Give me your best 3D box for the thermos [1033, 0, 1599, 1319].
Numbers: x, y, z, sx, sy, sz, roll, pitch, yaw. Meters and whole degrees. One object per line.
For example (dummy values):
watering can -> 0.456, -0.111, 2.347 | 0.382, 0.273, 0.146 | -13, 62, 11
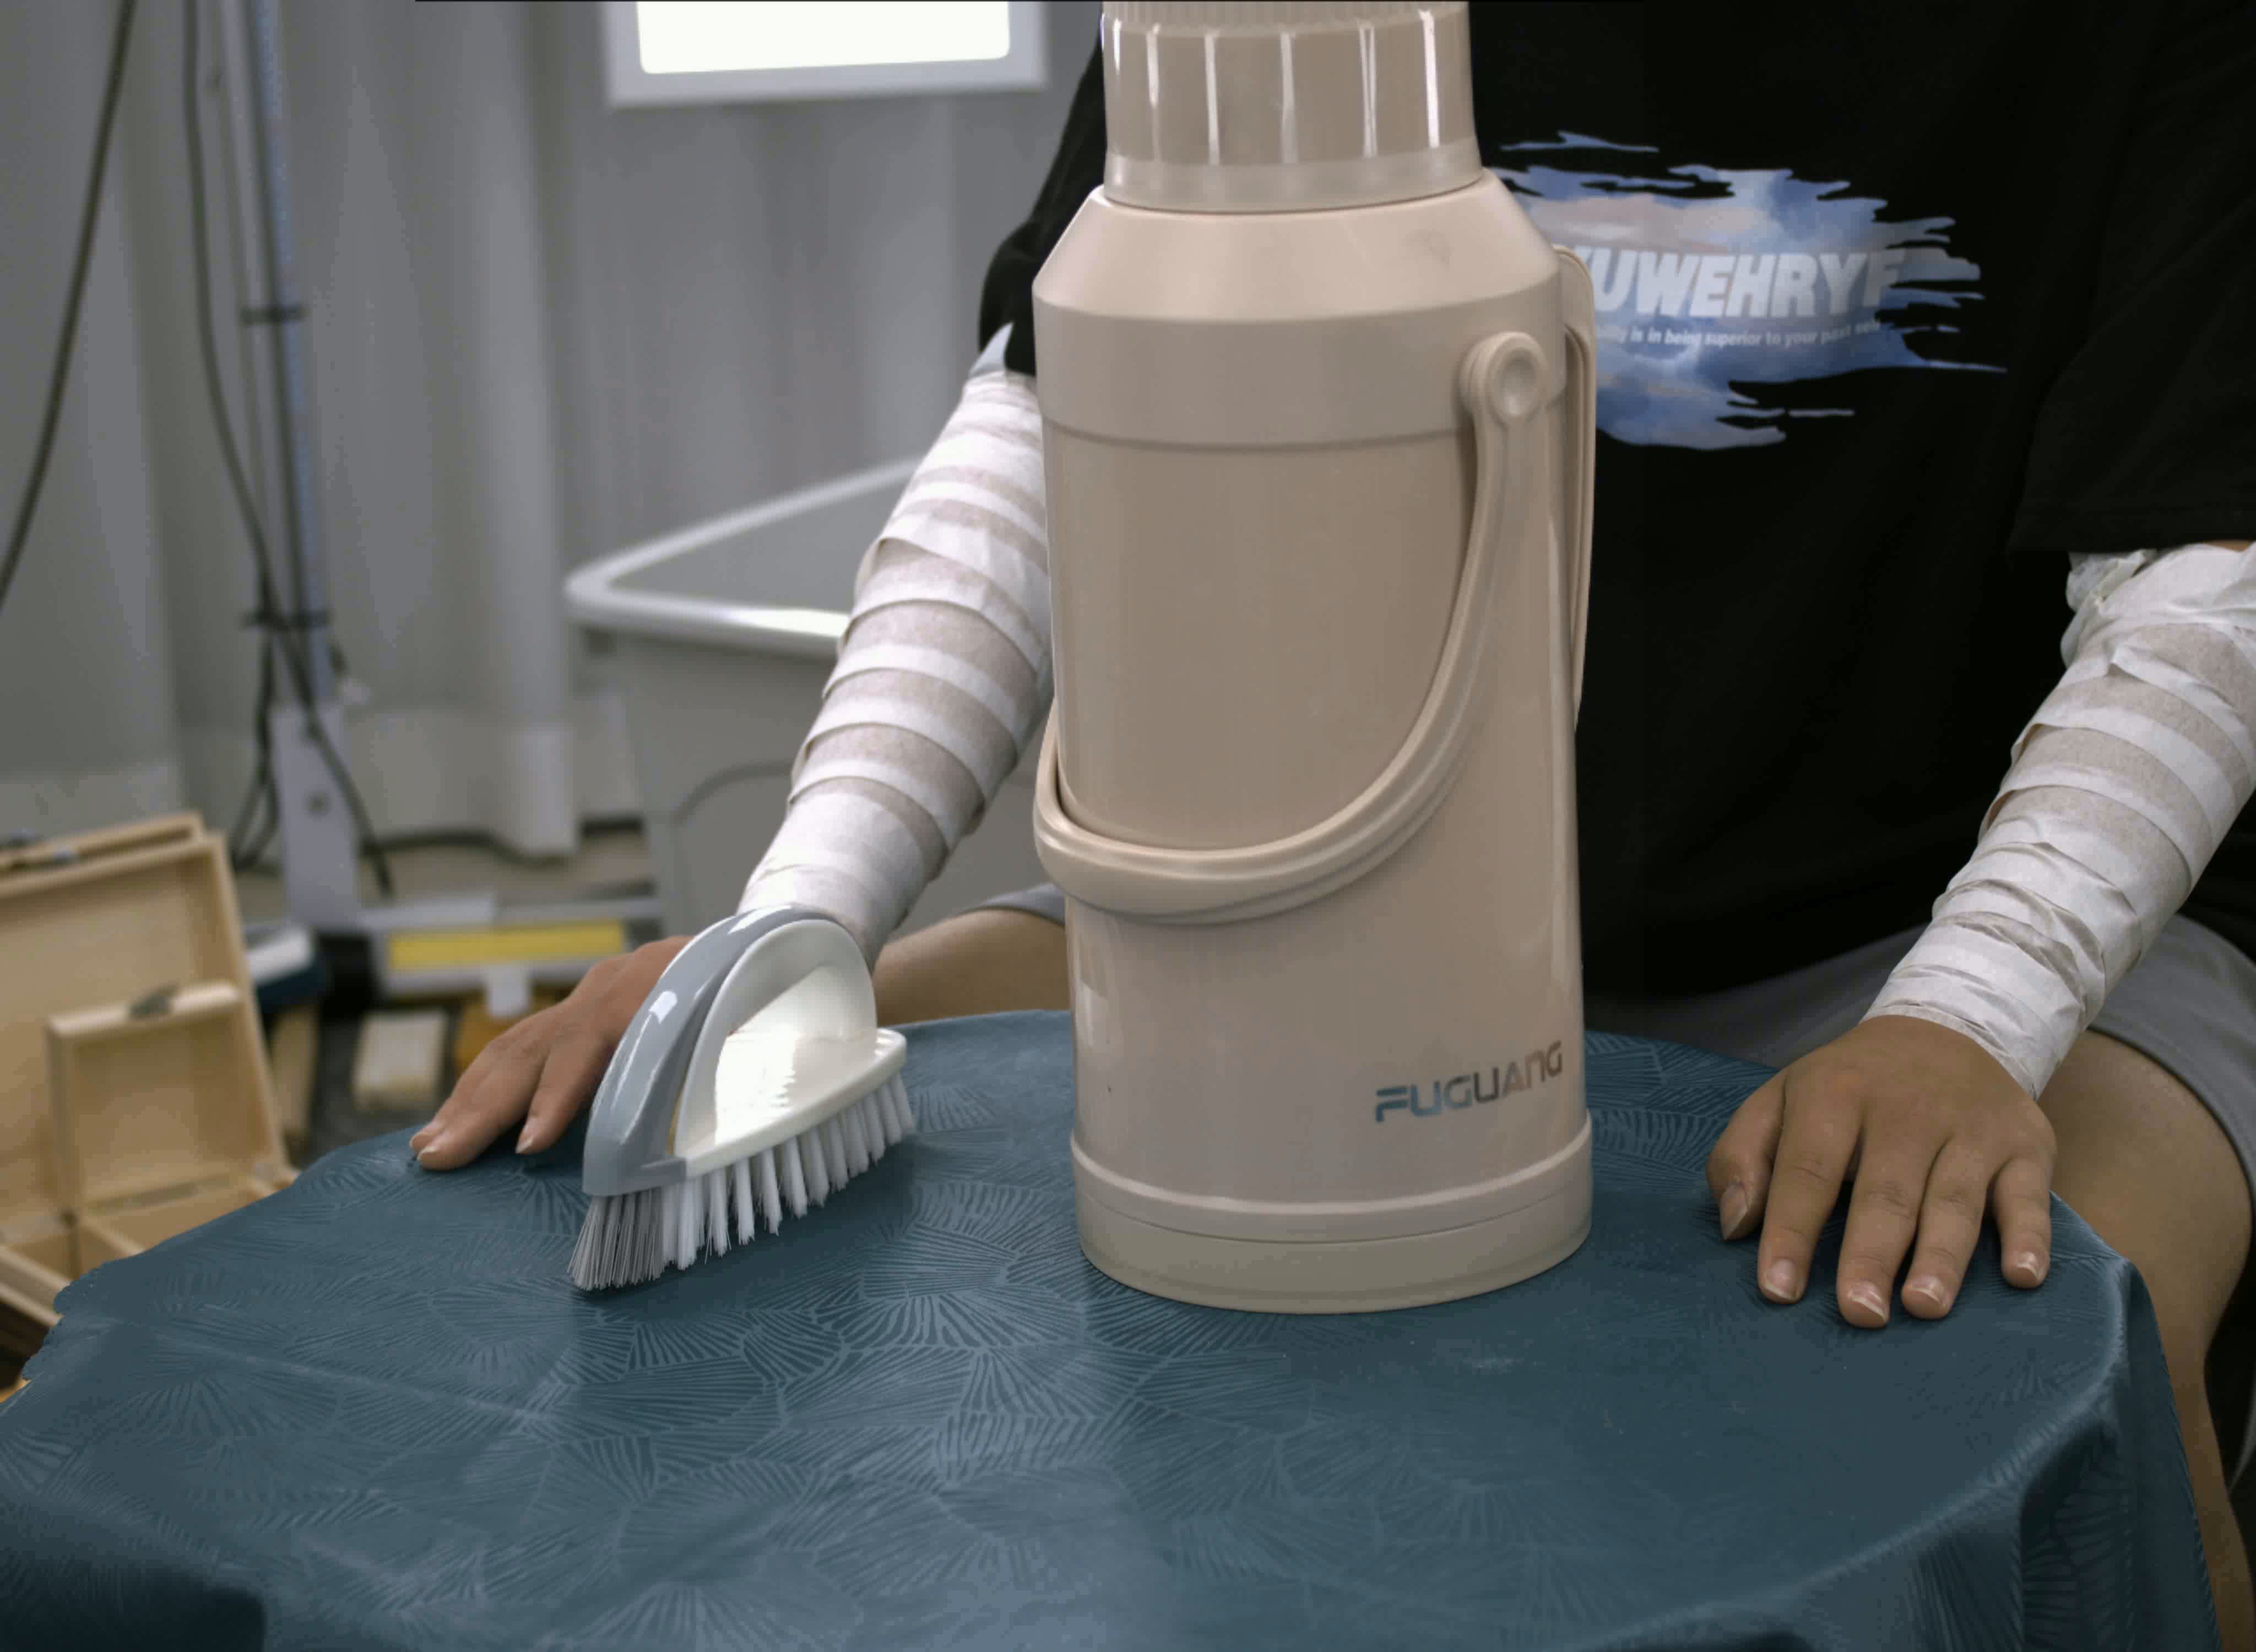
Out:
thermos -> 0.065, -0.071, 1.633 | 0.206, 0.405, 0.176 | -15, 17, -42

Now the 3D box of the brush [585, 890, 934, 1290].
brush -> -0.124, 0.076, 1.701 | 0.061, 0.094, 0.176 | -2, 15, 26
